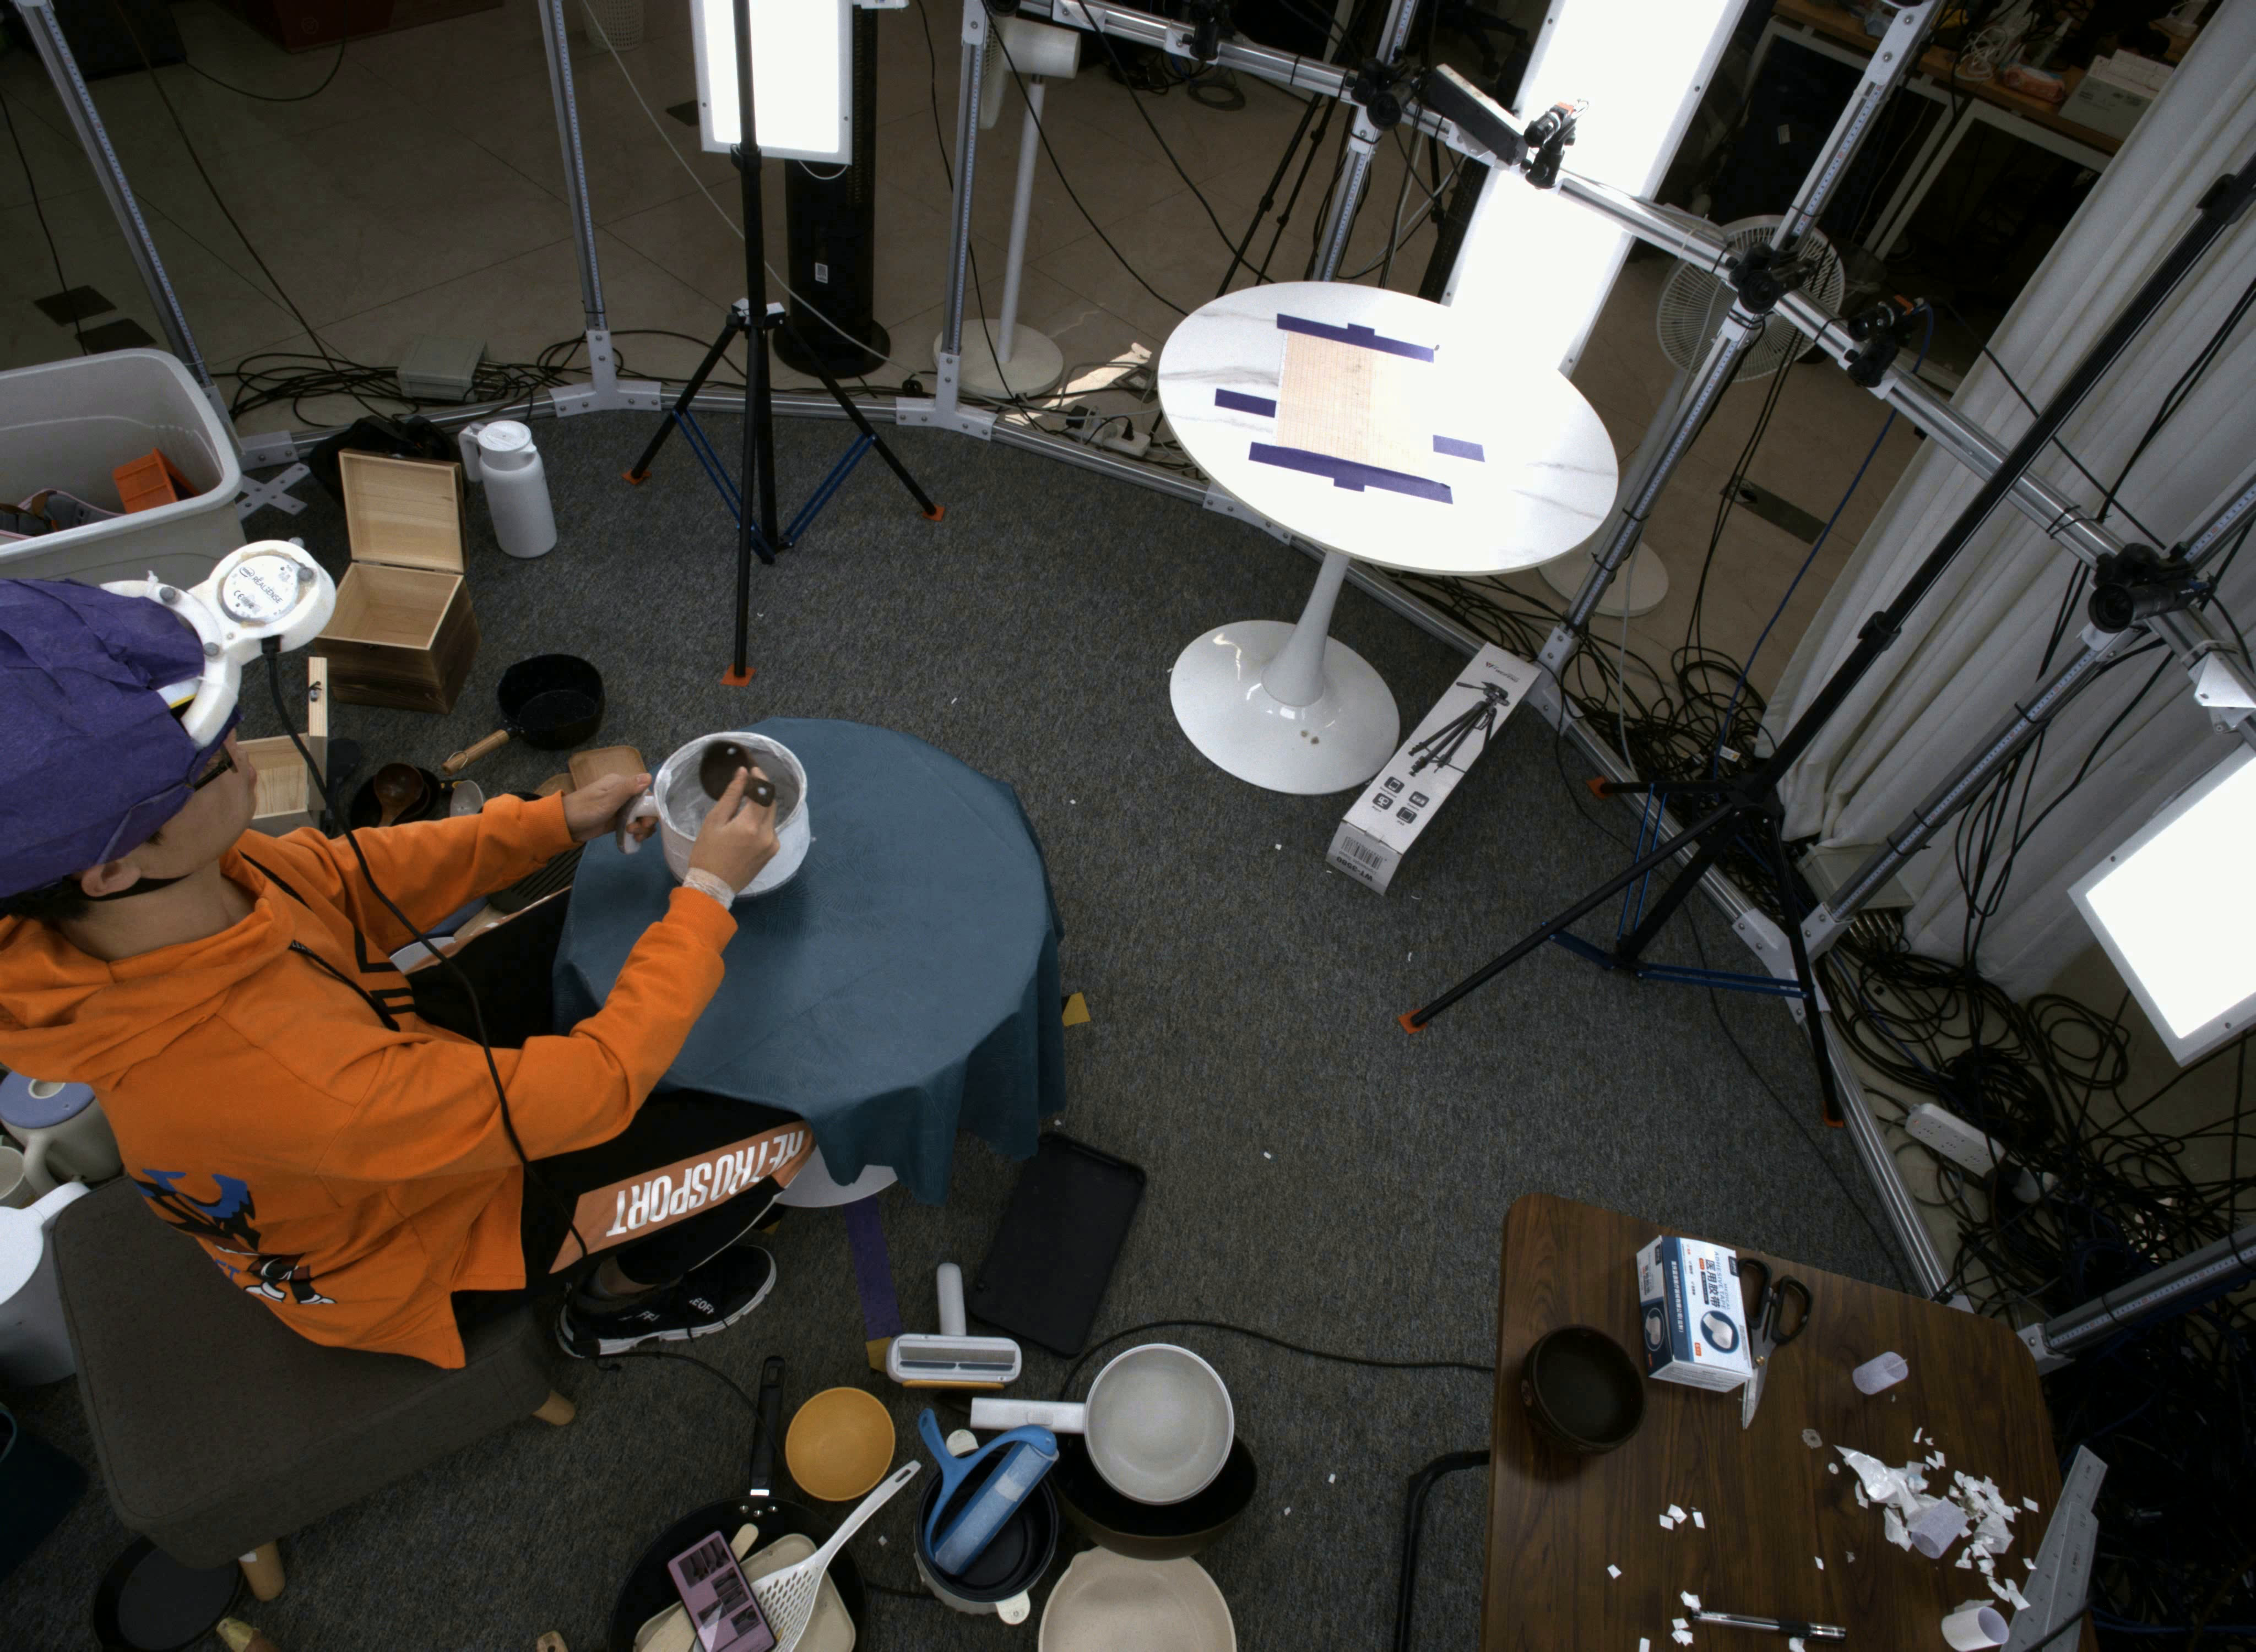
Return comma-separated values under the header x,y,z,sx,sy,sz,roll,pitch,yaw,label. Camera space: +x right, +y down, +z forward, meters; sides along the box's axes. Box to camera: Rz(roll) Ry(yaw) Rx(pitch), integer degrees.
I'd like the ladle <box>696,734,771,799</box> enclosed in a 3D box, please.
x,y,z,sx,sy,sz,roll,pitch,yaw,label
-0.440,-0.061,1.427,0.072,0.267,0.077,13,91,-20,ladle

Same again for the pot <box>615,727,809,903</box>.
x,y,z,sx,sy,sz,roll,pitch,yaw,label
-0.502,-0.009,1.547,0.234,0.139,0.174,-1,52,-14,pot
